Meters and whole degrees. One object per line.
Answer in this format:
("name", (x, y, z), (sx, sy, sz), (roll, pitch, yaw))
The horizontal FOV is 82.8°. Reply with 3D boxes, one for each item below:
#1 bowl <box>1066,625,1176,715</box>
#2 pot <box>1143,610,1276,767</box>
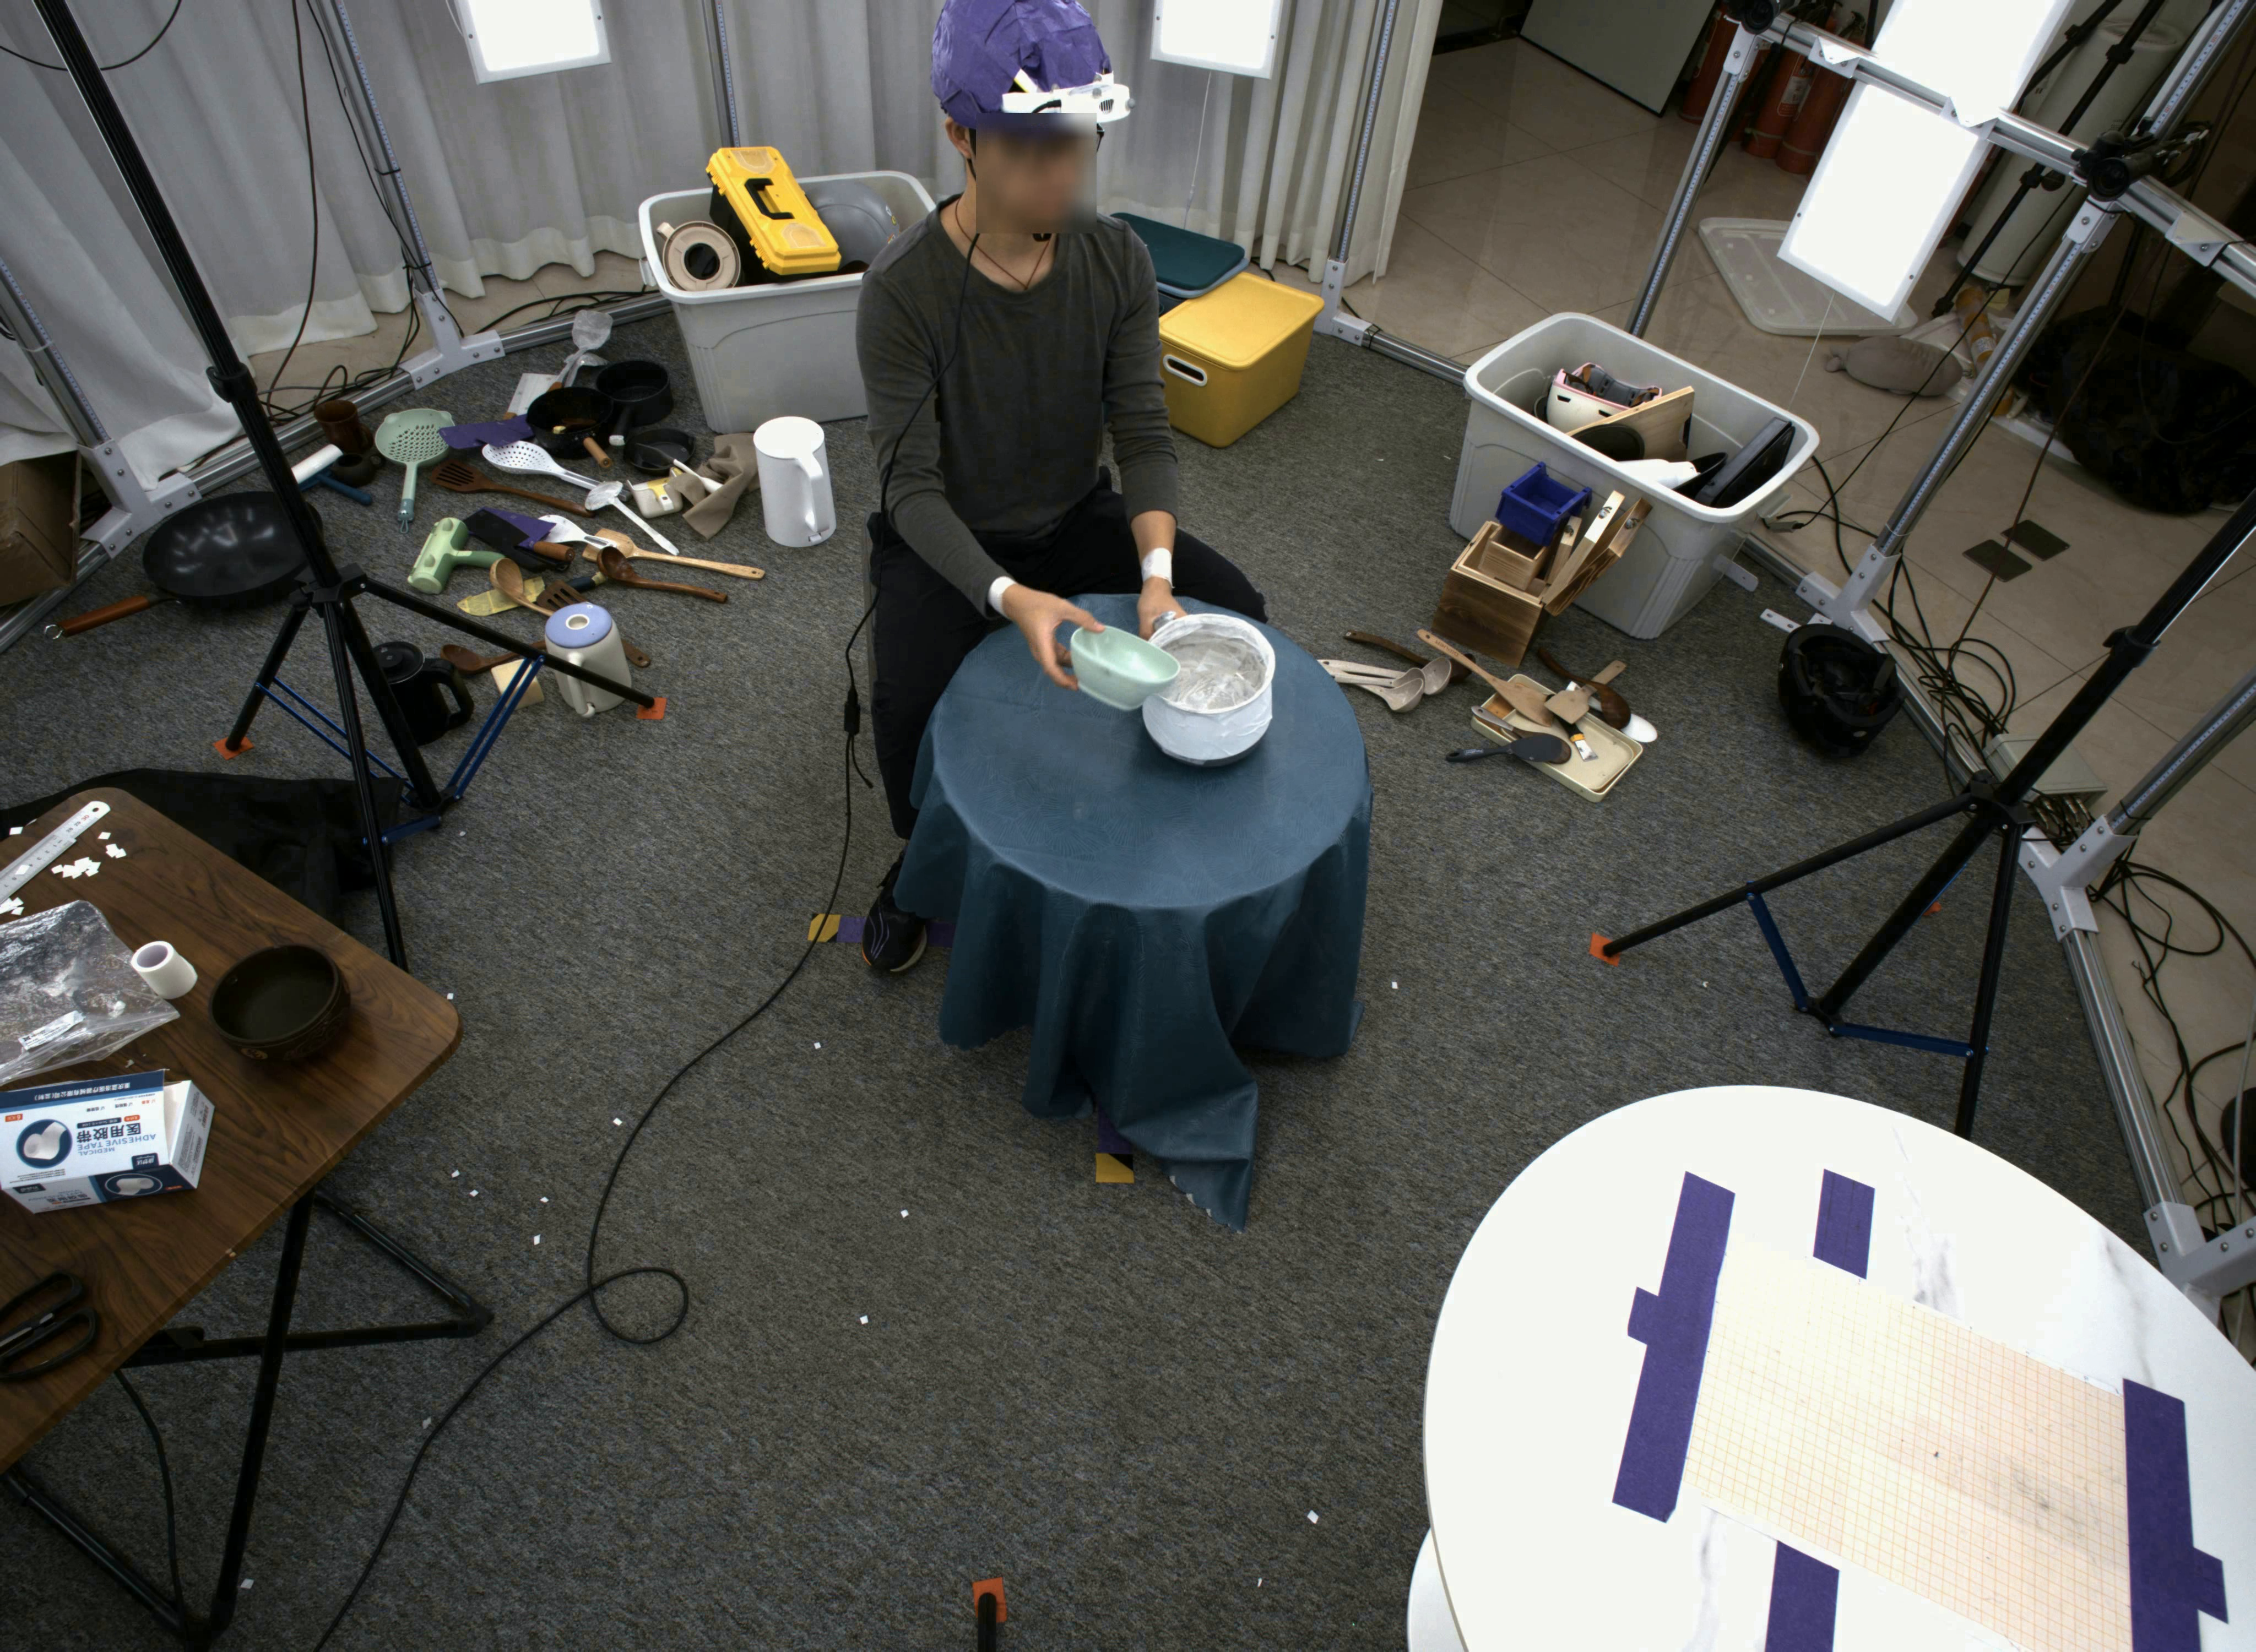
("bowl", (-0.016, -0.190, 1.612), (0.151, 0.057, 0.155), (18, 30, -11))
("pot", (0.094, -0.198, 1.747), (0.179, 0.133, 0.238), (-26, 56, -15))
